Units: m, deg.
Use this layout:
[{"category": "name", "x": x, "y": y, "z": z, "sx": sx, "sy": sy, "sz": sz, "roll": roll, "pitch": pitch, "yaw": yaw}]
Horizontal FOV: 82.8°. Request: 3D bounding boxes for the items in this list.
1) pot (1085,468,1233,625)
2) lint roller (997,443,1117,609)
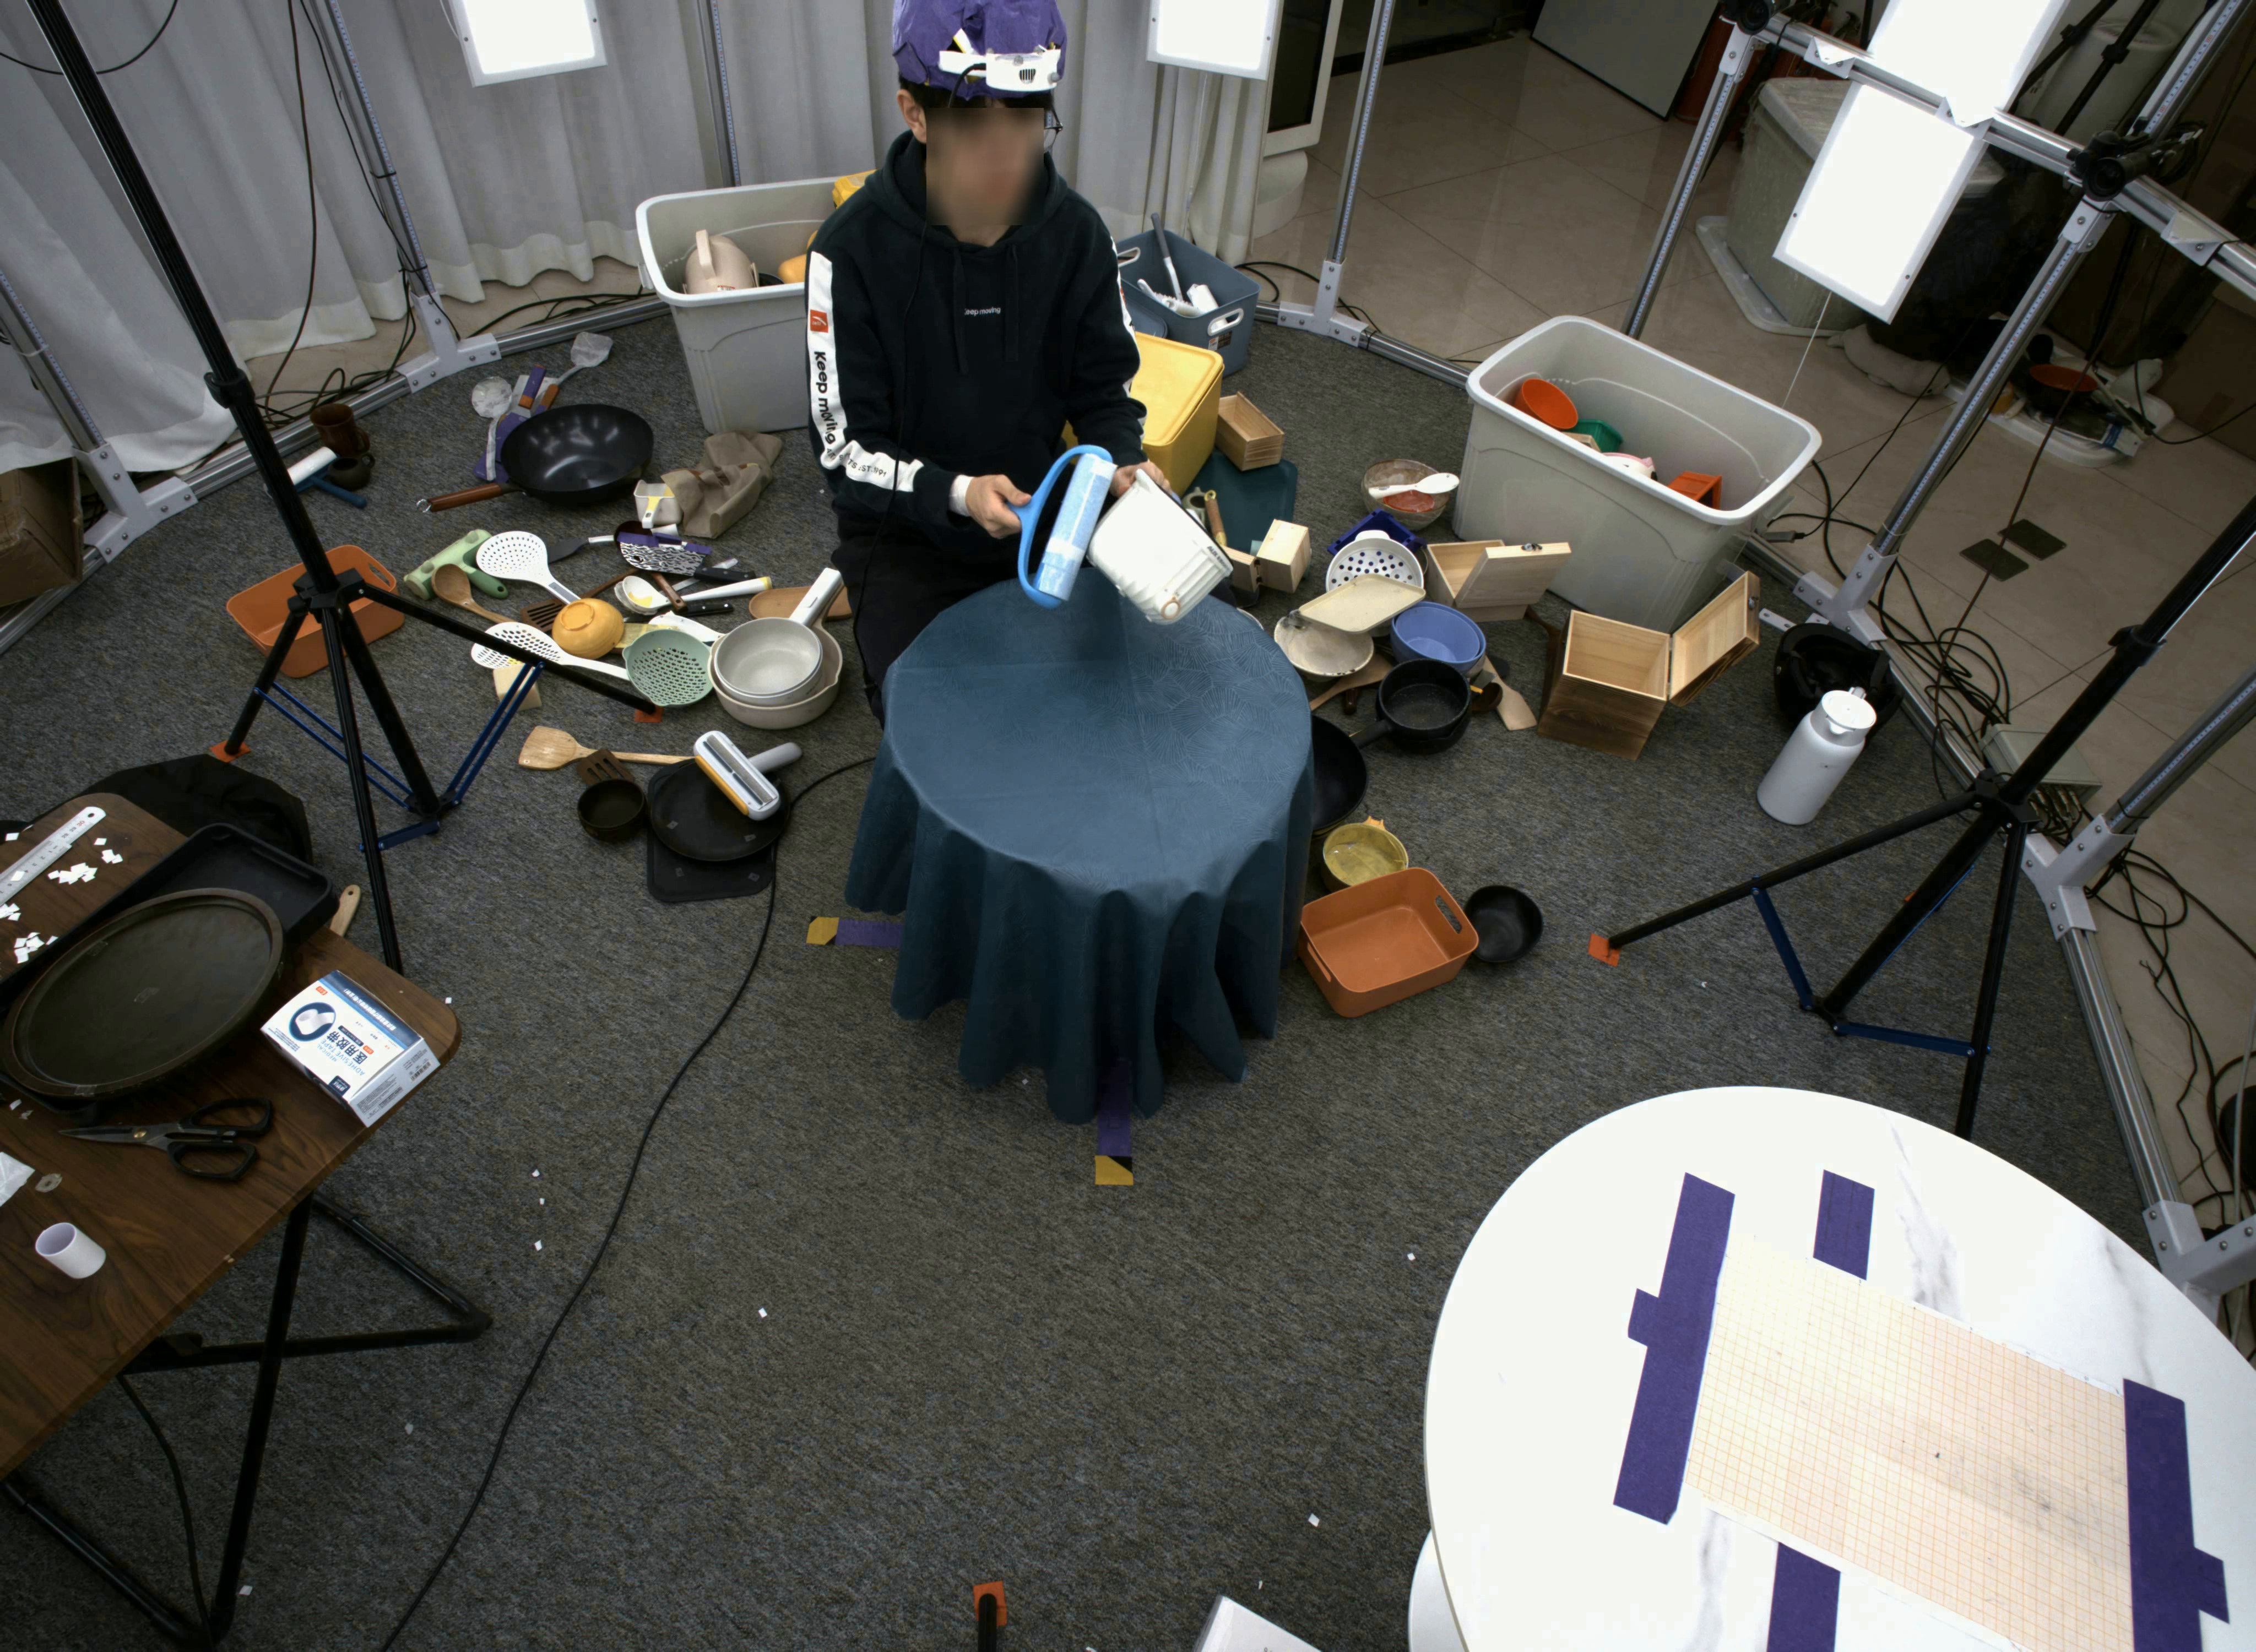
[{"category": "pot", "x": 0.039, "y": -0.372, "z": 1.786, "sx": 0.142, "sy": 0.236, "sz": 0.194, "roll": -49, "pitch": 47, "yaw": 4}, {"category": "lint roller", "x": -0.122, "y": -0.424, "z": 1.777, "sx": 0.182, "sy": 0.228, "sz": 0.067, "roll": 20, "pitch": 4, "yaw": 28}]
